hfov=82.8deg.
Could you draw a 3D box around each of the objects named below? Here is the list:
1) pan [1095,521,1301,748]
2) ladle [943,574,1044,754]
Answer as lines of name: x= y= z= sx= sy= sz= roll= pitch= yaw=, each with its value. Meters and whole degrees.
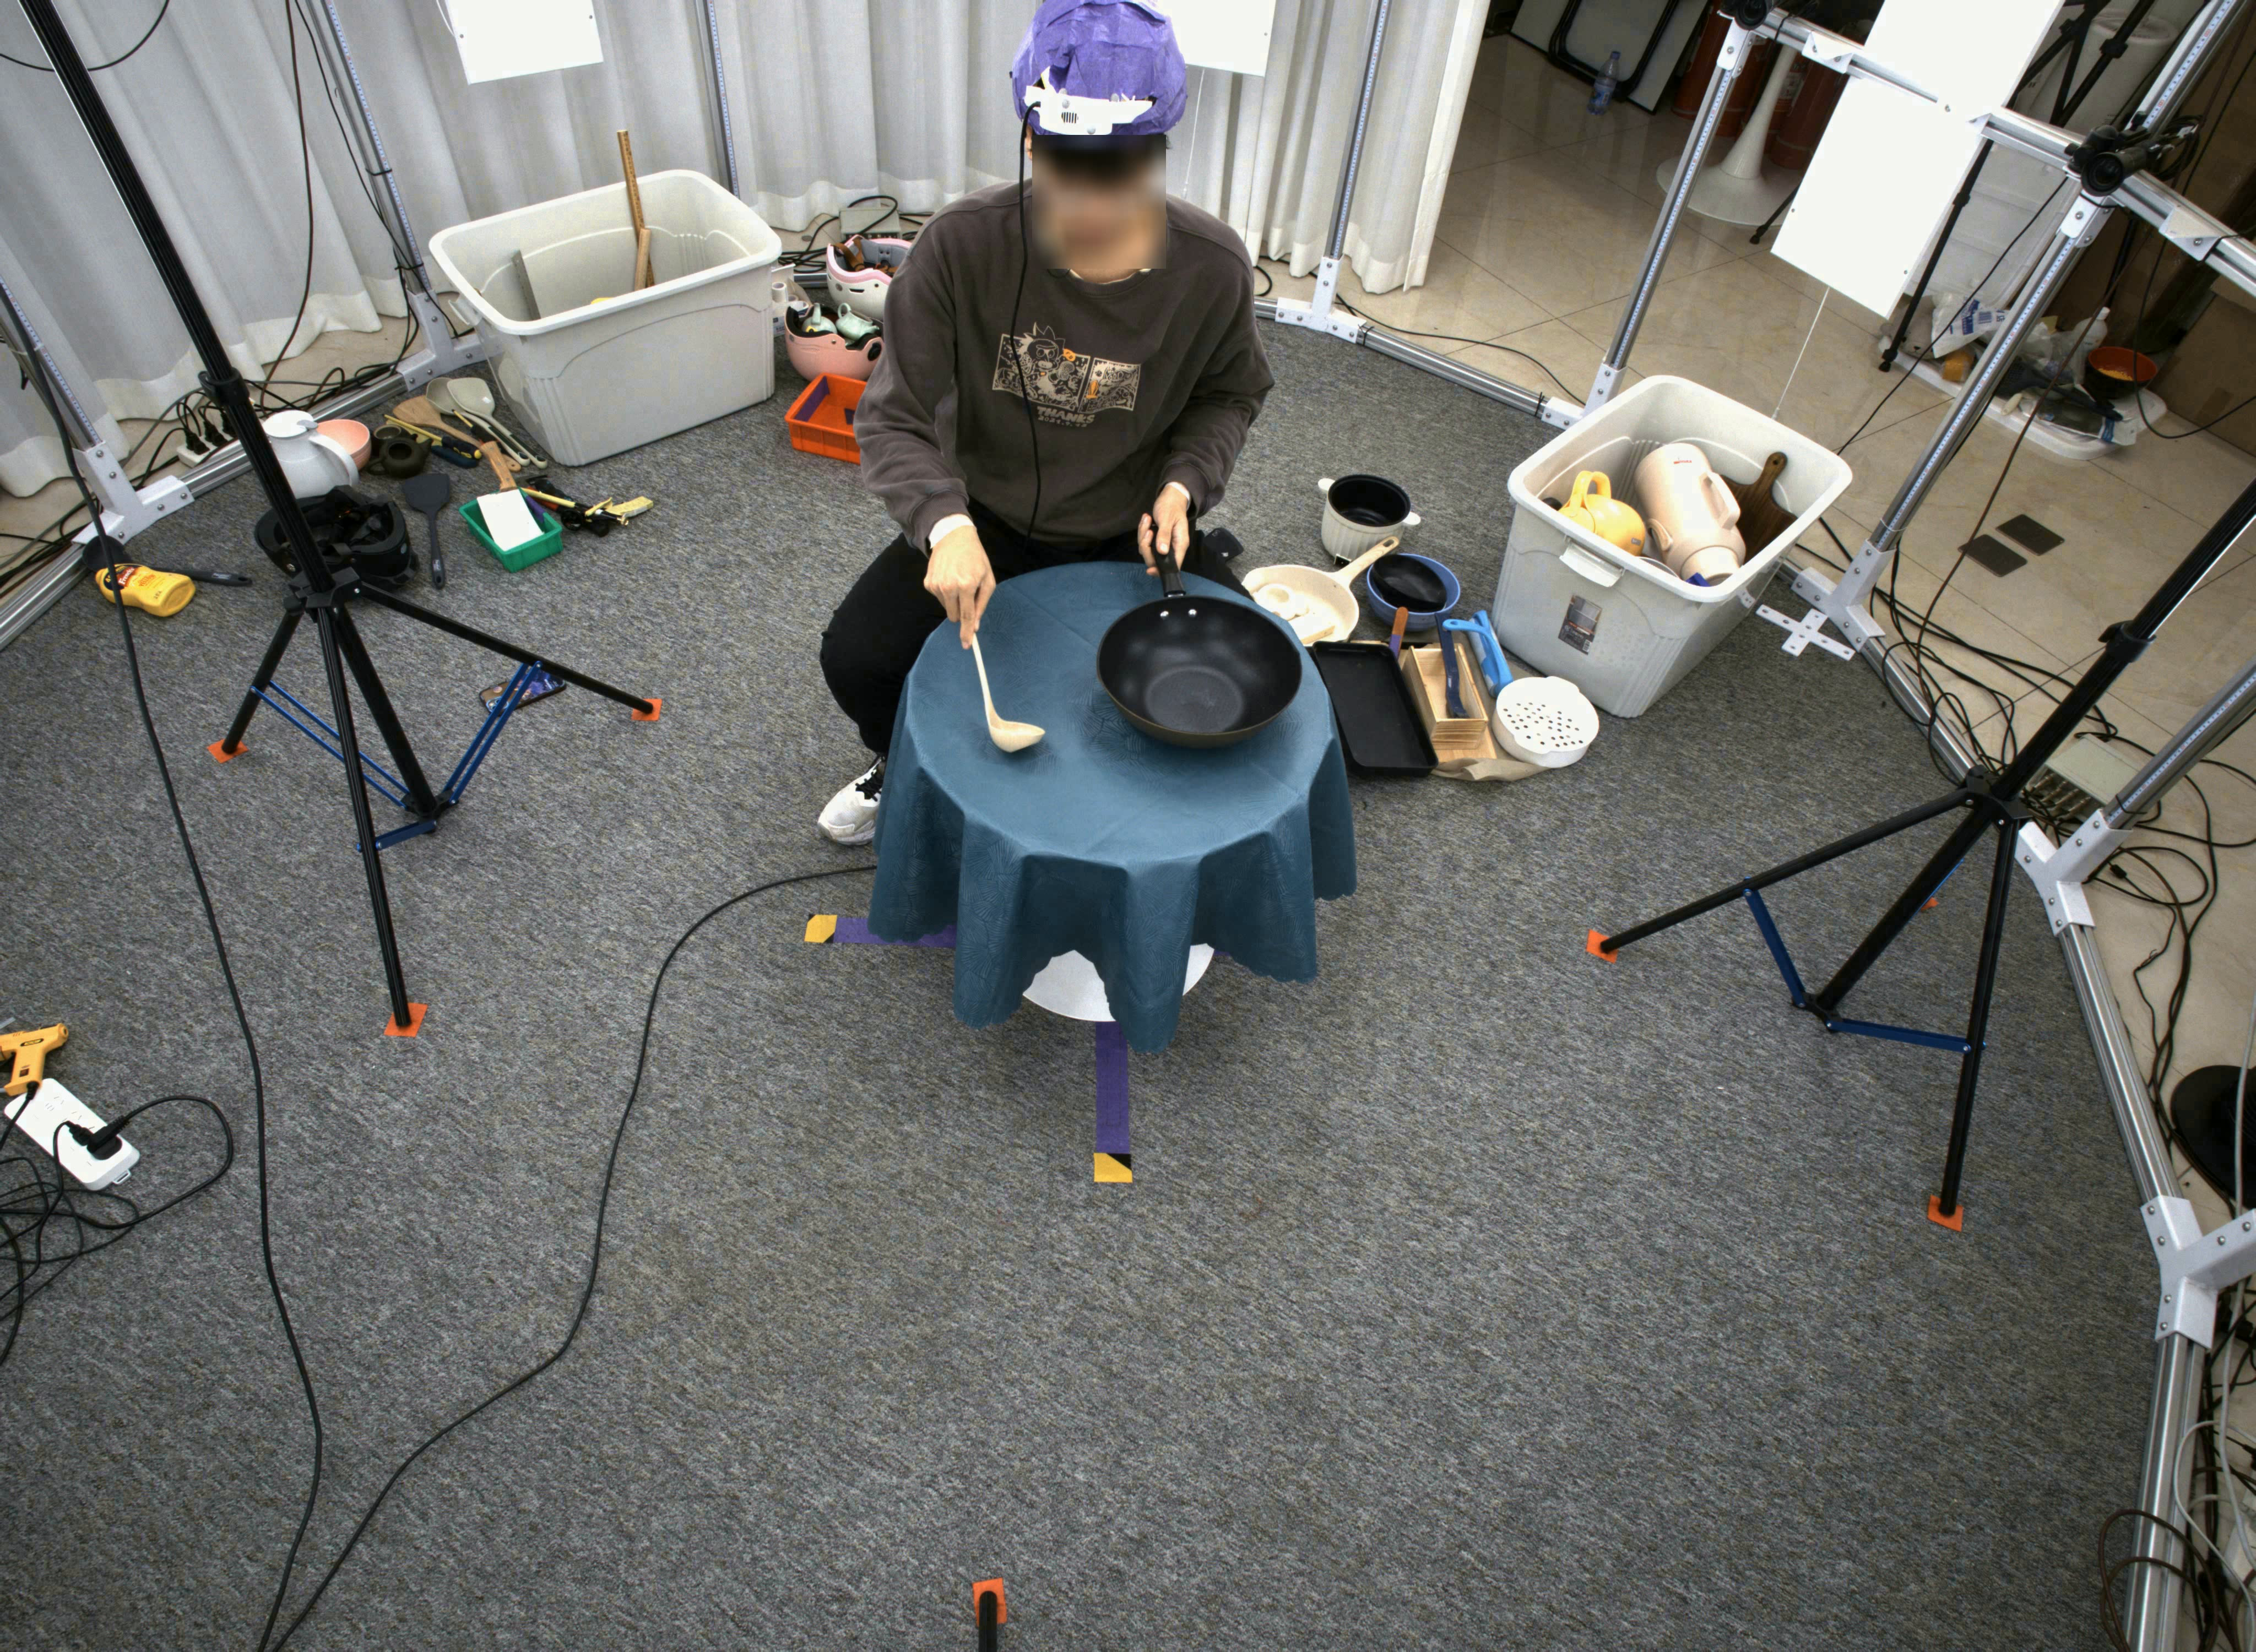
pan: x=0.078 y=-0.270 z=1.852 sx=0.288 sy=0.085 sz=0.475 roll=-6 pitch=49 yaw=-9
ladle: x=-0.178 y=-0.223 z=1.717 sx=0.072 sy=0.253 sz=0.072 roll=-14 pitch=5 yaw=30
